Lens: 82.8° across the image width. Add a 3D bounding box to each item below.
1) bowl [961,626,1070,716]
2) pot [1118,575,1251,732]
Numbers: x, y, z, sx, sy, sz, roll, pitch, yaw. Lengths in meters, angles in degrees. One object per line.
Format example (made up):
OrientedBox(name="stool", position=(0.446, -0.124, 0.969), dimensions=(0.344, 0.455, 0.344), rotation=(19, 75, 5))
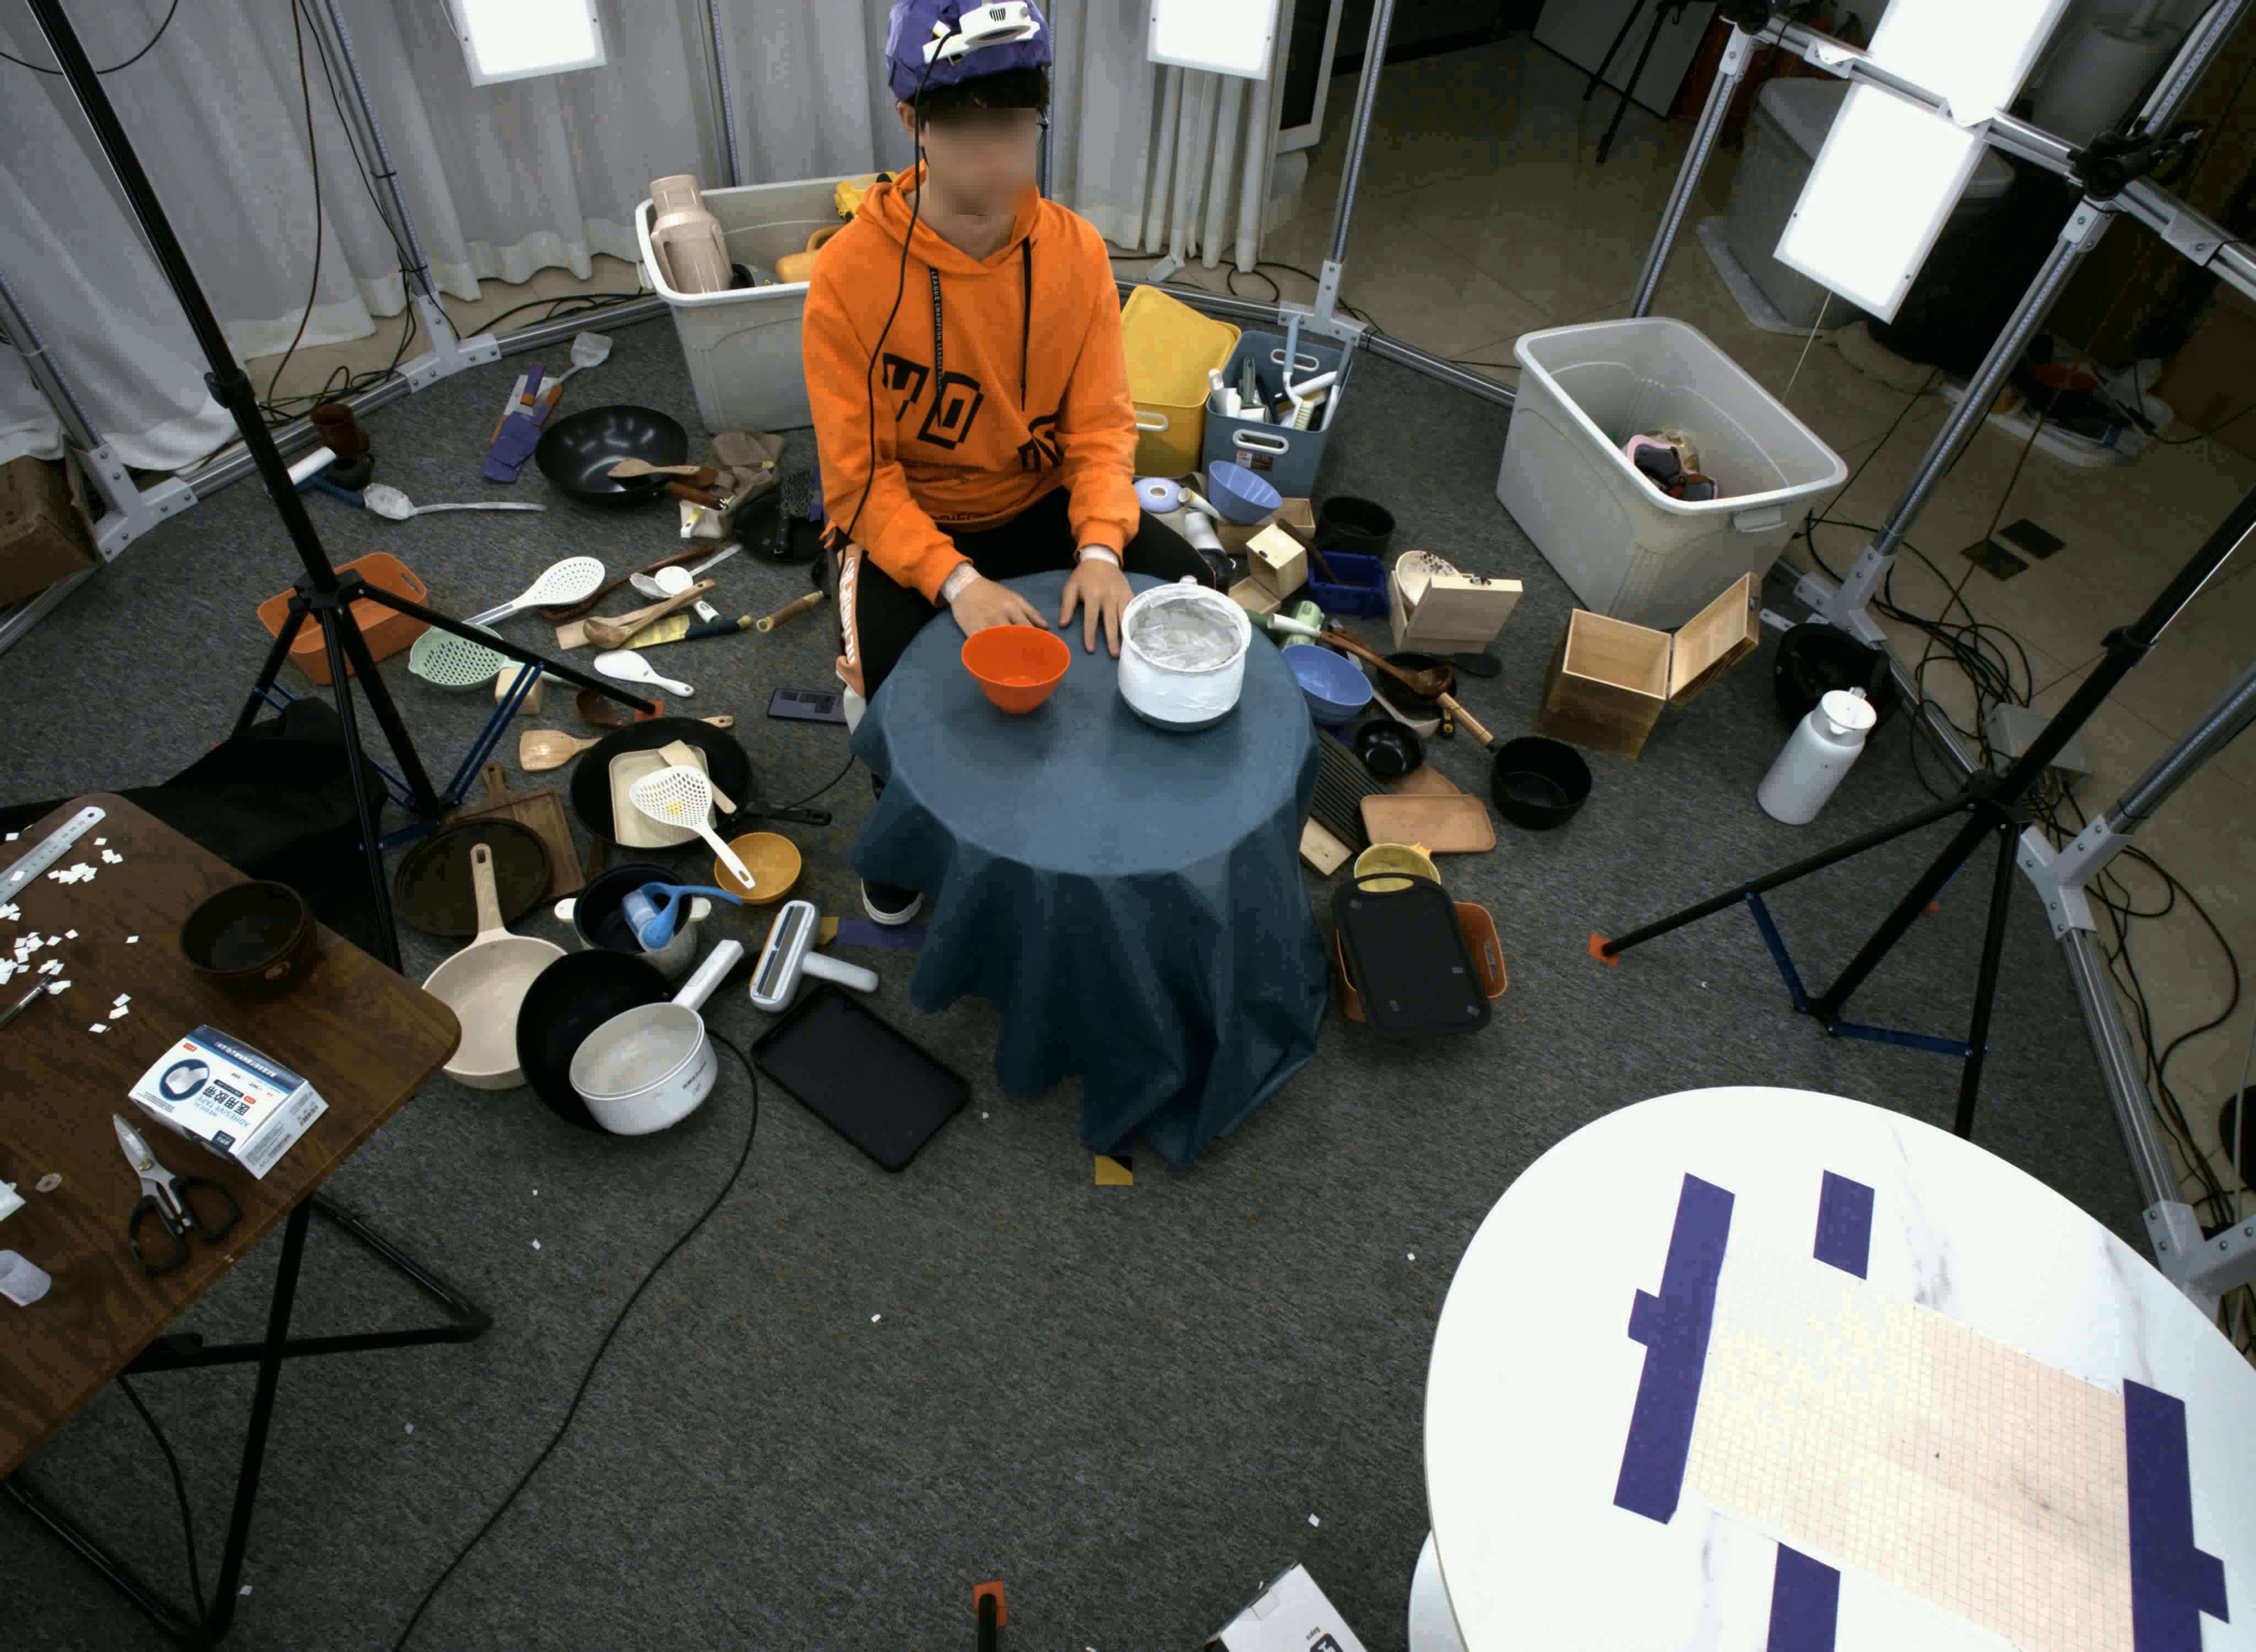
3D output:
OrientedBox(name="bowl", position=(-0.155, -0.205, 1.774), dimensions=(0.148, 0.102, 0.152), rotation=(2, 48, -3))
OrientedBox(name="pot", position=(0.076, -0.252, 1.804), dimensions=(0.178, 0.133, 0.239), rotation=(4, 49, -1))
